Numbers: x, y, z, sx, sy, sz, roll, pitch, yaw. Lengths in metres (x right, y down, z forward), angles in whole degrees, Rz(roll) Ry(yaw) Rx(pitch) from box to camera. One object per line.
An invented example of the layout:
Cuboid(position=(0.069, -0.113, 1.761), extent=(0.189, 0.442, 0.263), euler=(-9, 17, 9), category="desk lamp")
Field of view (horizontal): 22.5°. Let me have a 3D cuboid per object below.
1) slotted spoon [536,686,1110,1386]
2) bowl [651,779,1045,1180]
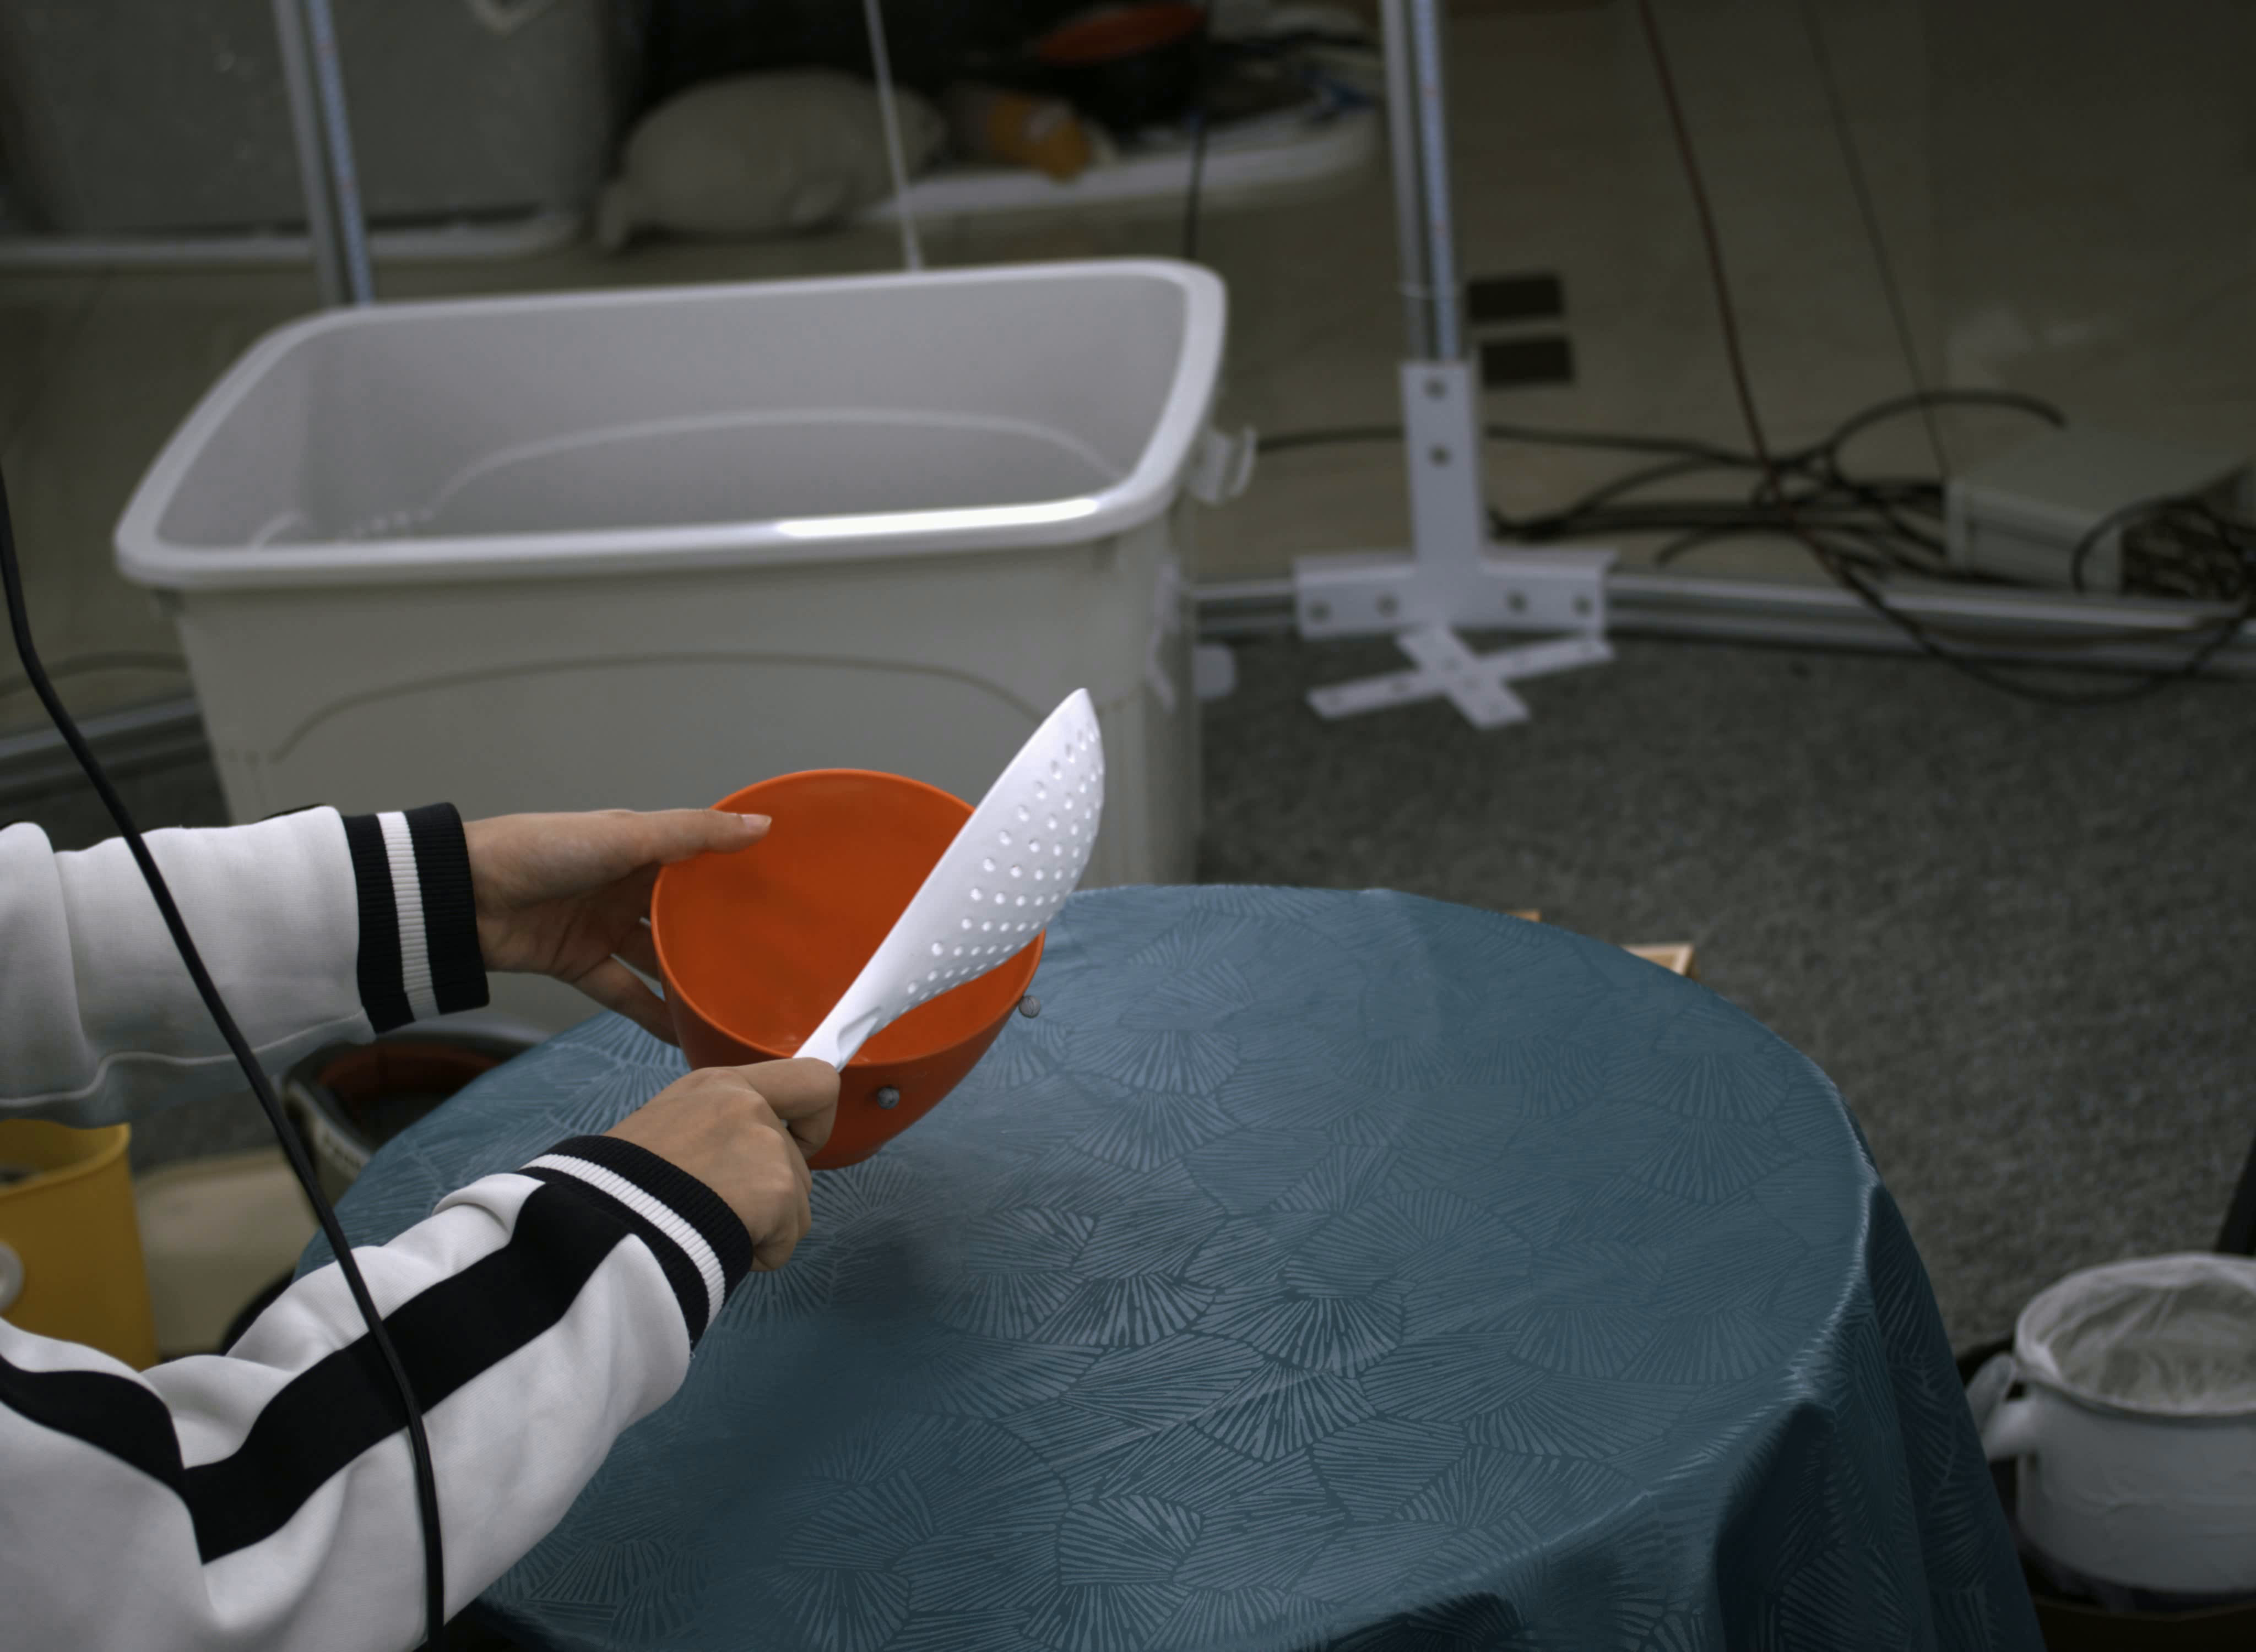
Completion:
Cuboid(position=(-0.101, 0.073, 1.967), extent=(0.045, 0.138, 0.345), euler=(40, 51, 7), category="slotted spoon")
Cuboid(position=(-0.110, 0.068, 2.144), extent=(0.148, 0.106, 0.145), euler=(6, 40, -5), category="bowl")
